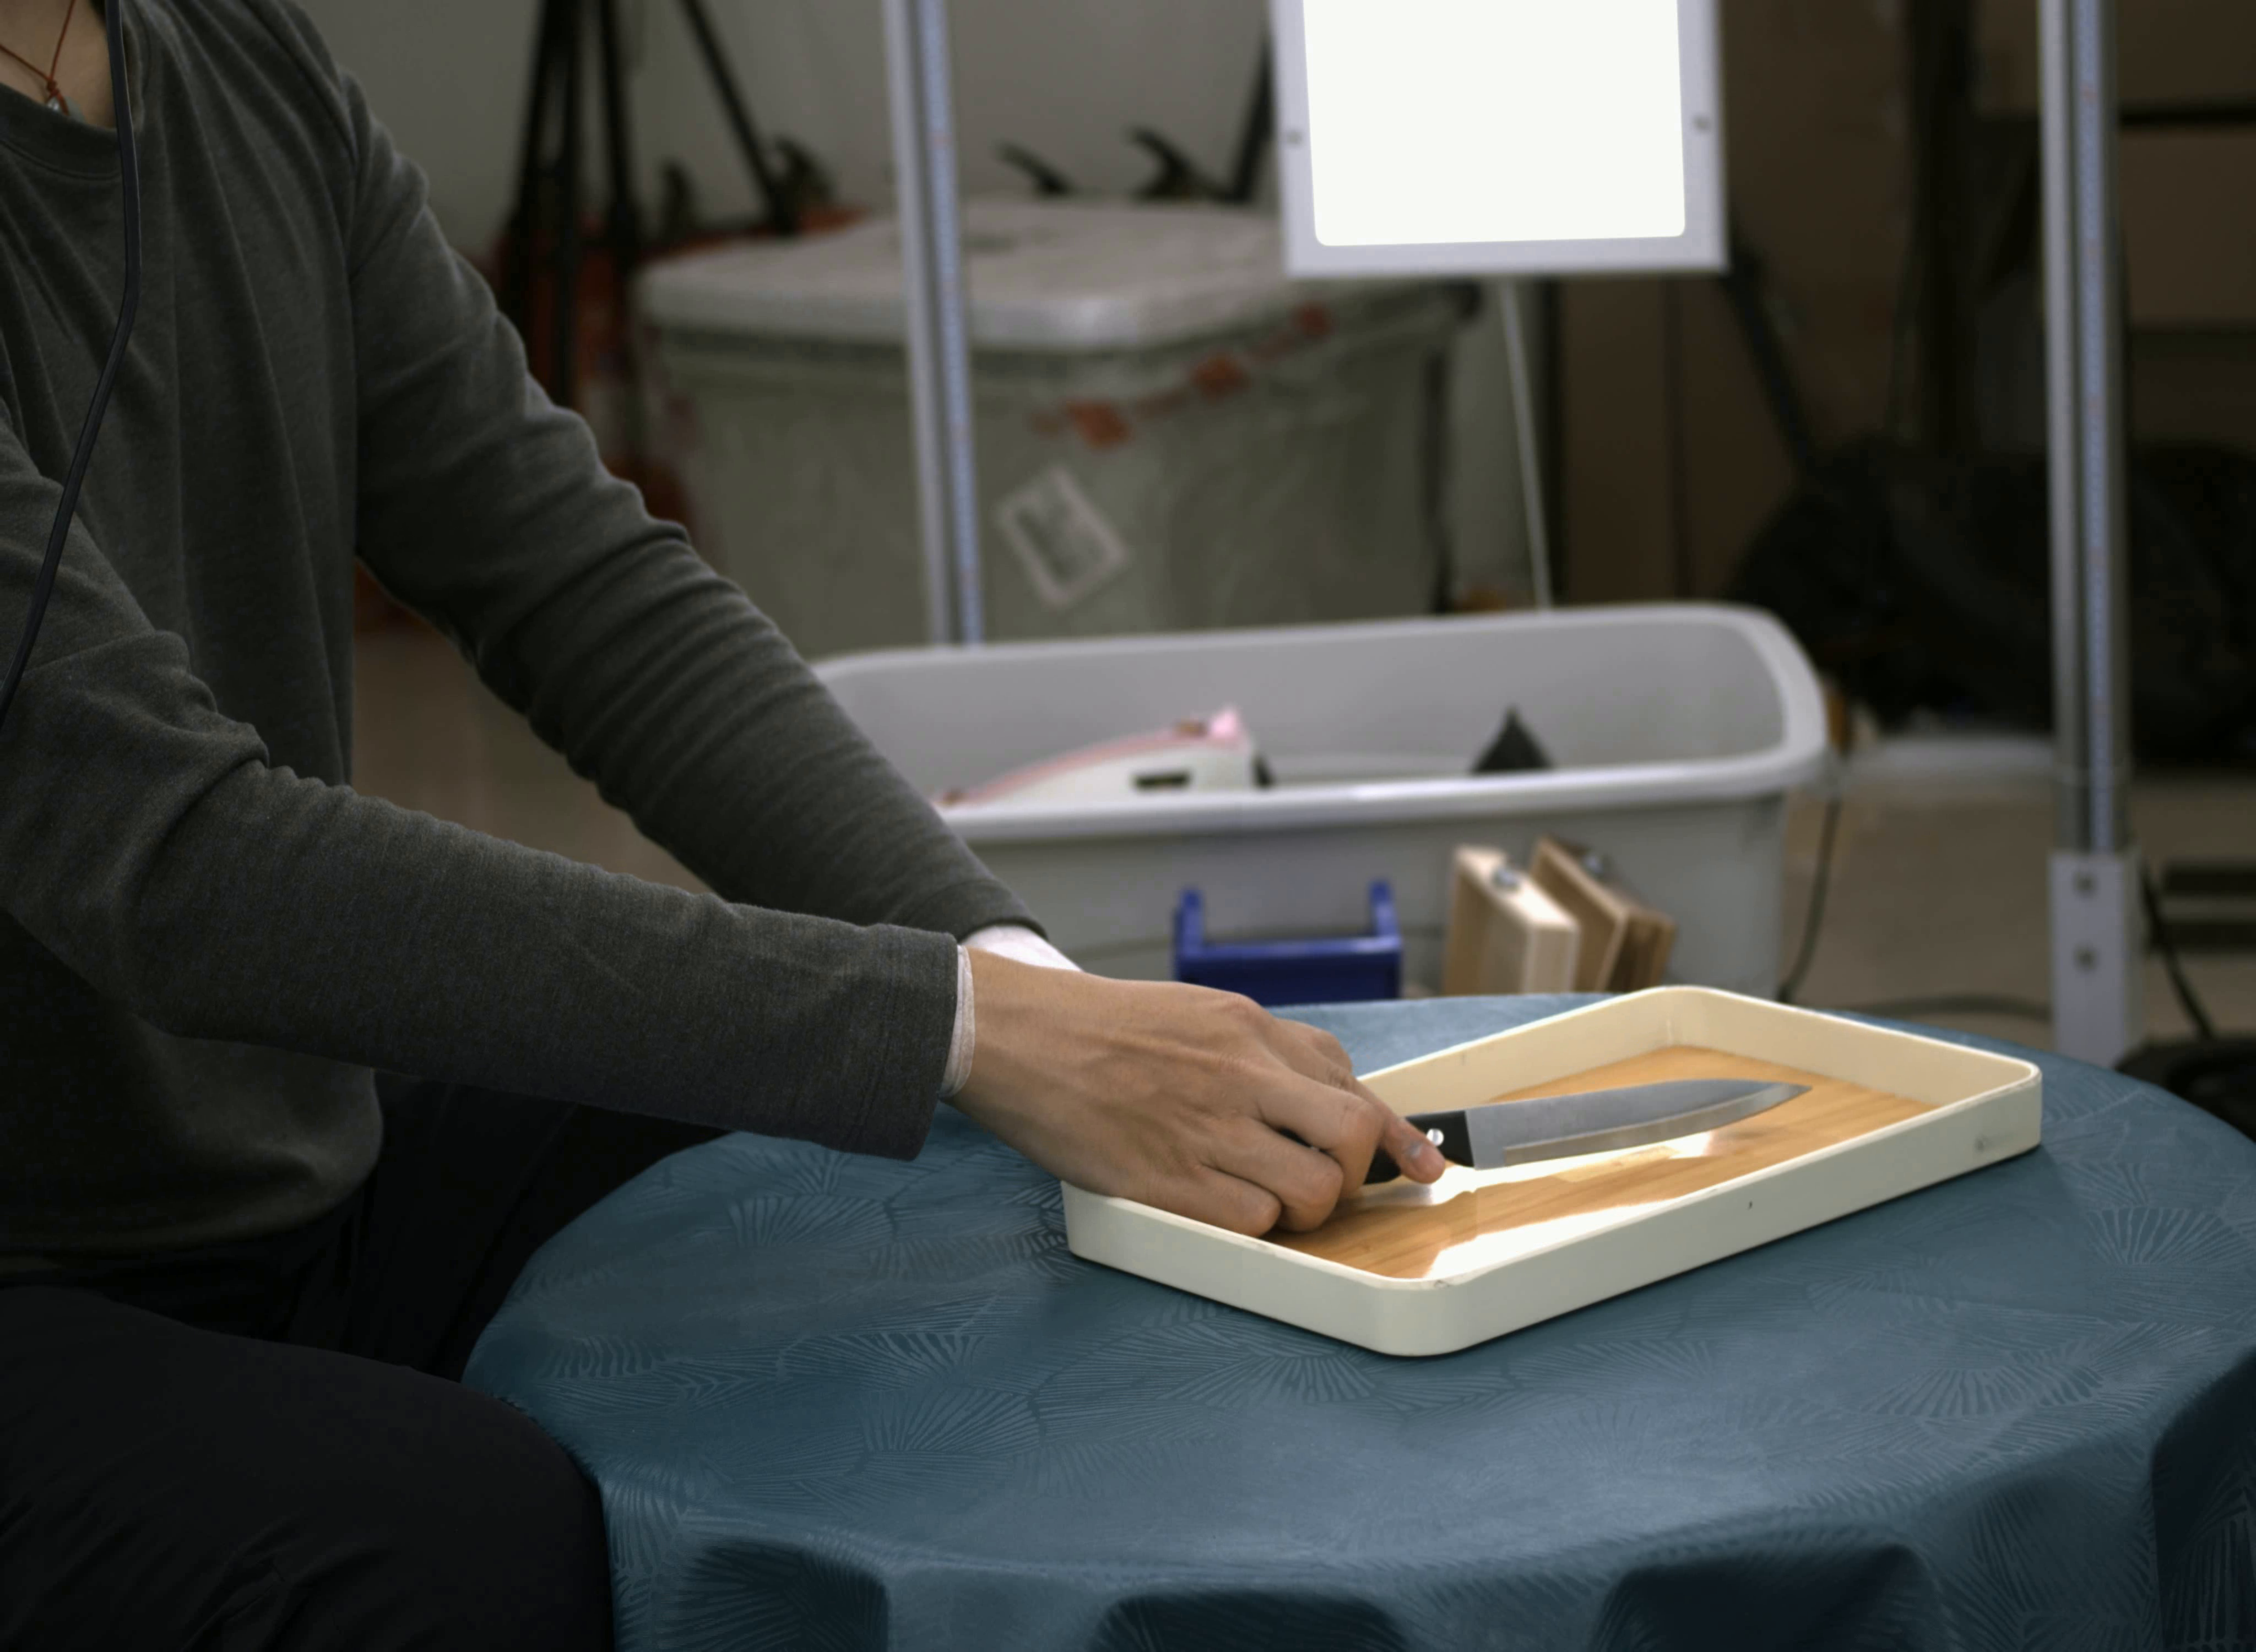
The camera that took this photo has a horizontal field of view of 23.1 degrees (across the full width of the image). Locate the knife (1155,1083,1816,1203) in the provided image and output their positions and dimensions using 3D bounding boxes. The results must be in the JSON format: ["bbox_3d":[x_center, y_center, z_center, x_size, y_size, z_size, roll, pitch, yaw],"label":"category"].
[{"bbox_3d":[0.123,0.103,1.861,0.235,0.024,0.016,-6,5,-12],"label":"knife"}]

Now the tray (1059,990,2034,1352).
[{"bbox_3d":[0.145,0.112,1.854,0.293,0.027,0.195,-15,15,-34],"label":"tray"}]
